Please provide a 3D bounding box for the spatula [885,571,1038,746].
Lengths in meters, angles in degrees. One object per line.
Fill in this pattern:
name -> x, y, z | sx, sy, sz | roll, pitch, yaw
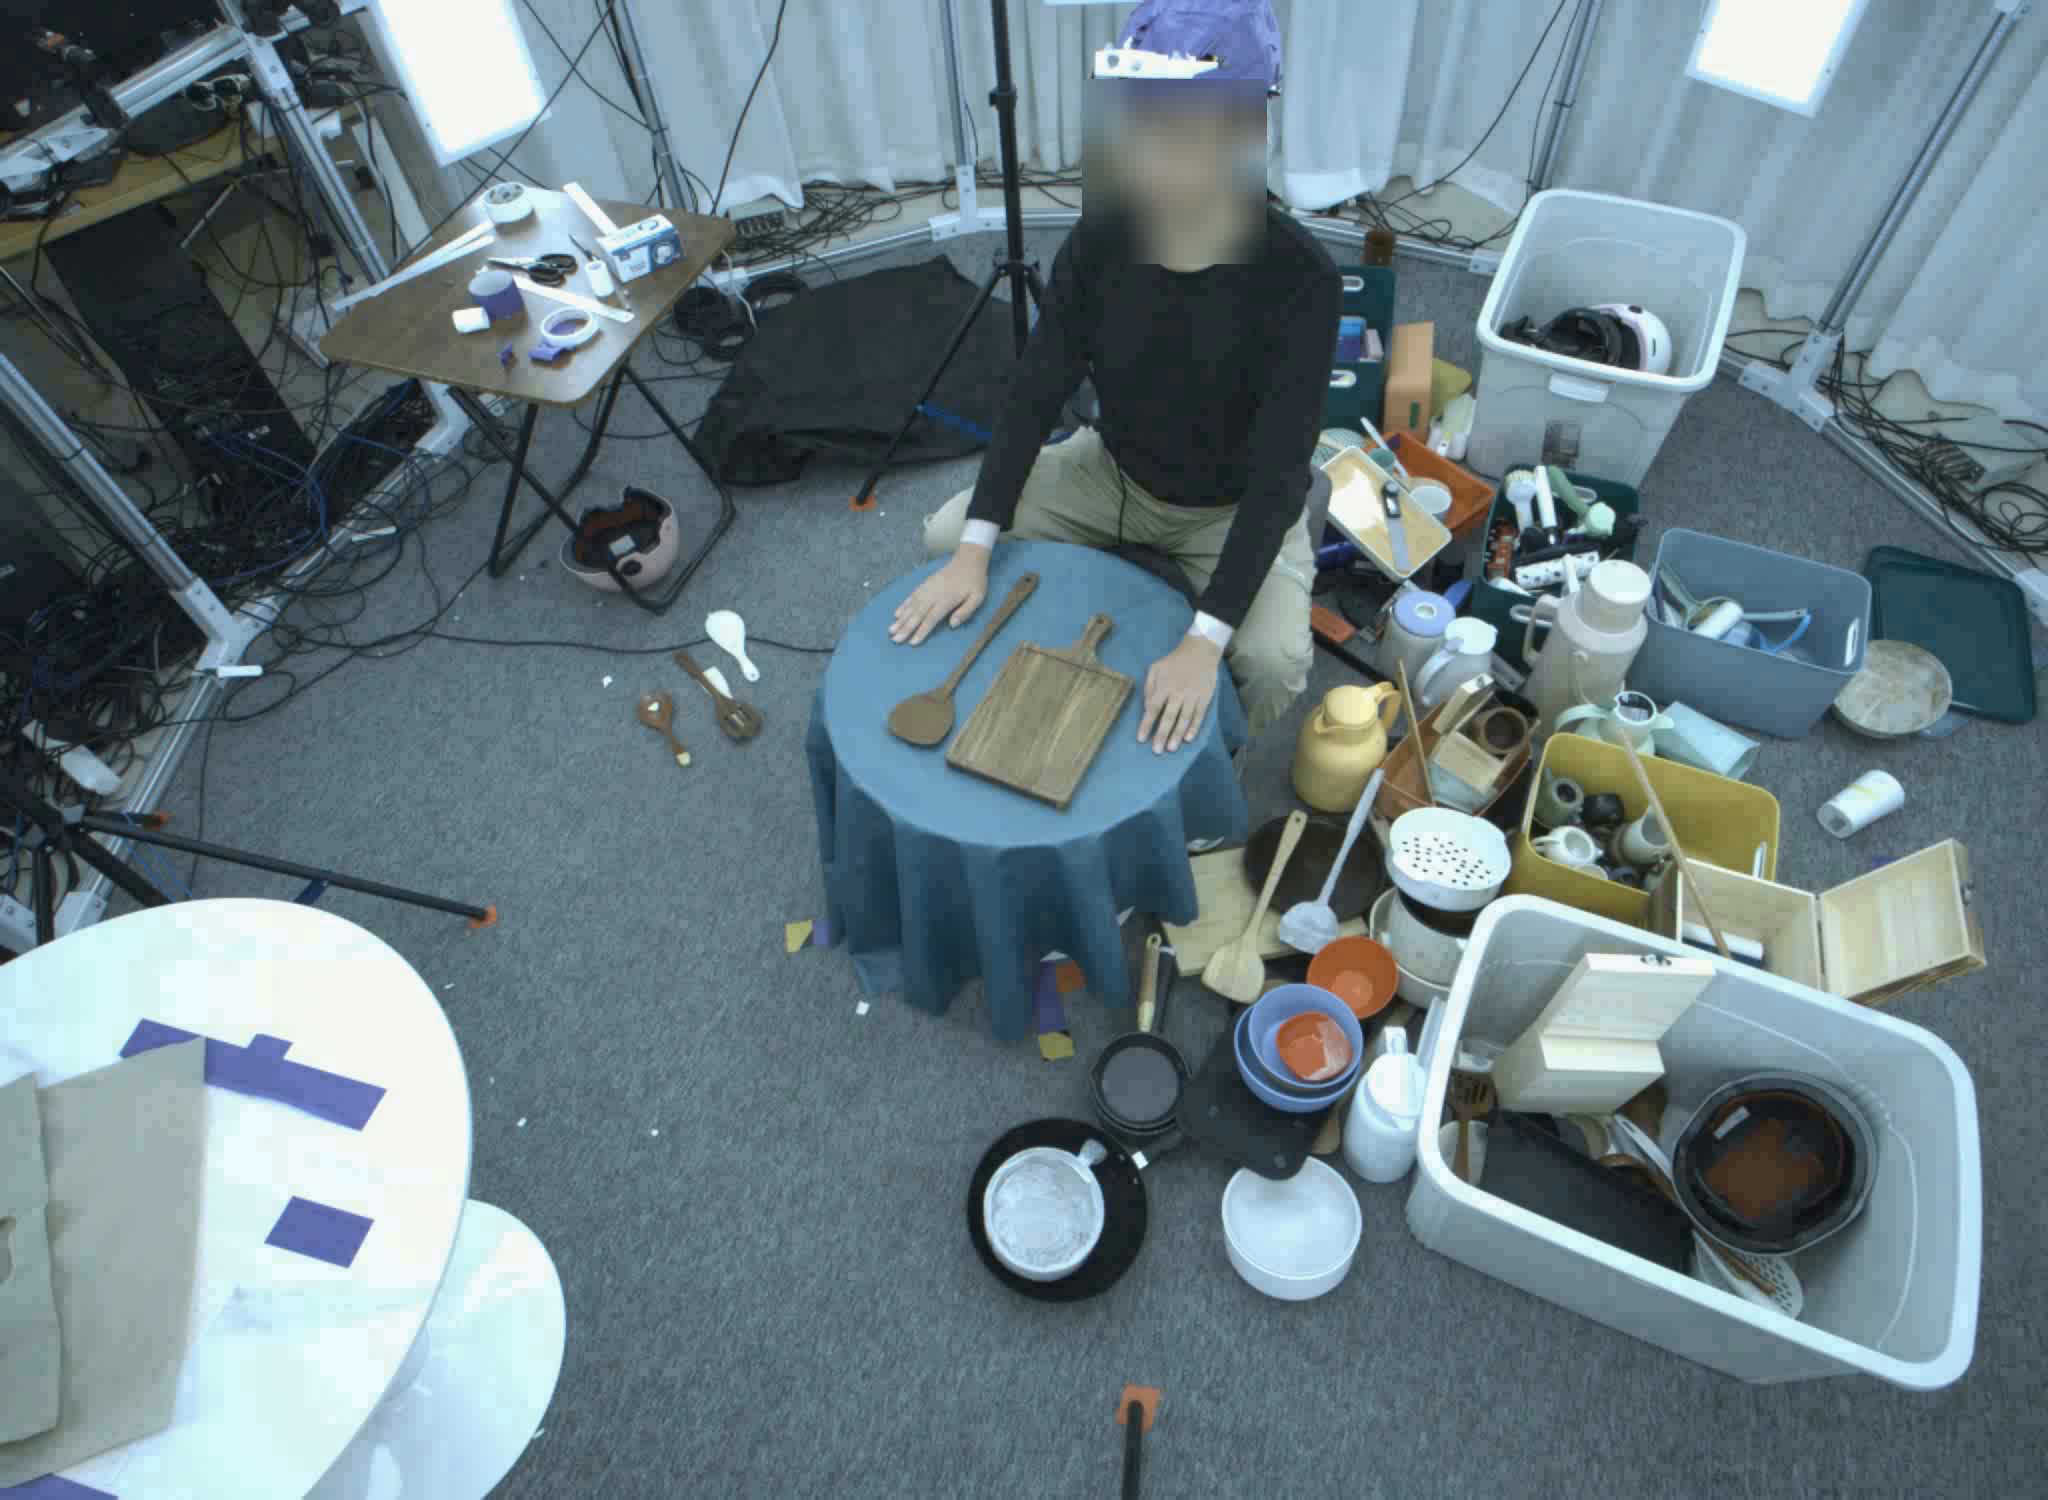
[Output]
spatula -> -0.079, -0.152, 1.889 | 0.095, 0.016, 0.387 | 24, 59, 17

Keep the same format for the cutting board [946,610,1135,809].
cutting board -> 0.049, -0.080, 1.830 | 0.198, 0.023, 0.352 | 21, 58, 15
